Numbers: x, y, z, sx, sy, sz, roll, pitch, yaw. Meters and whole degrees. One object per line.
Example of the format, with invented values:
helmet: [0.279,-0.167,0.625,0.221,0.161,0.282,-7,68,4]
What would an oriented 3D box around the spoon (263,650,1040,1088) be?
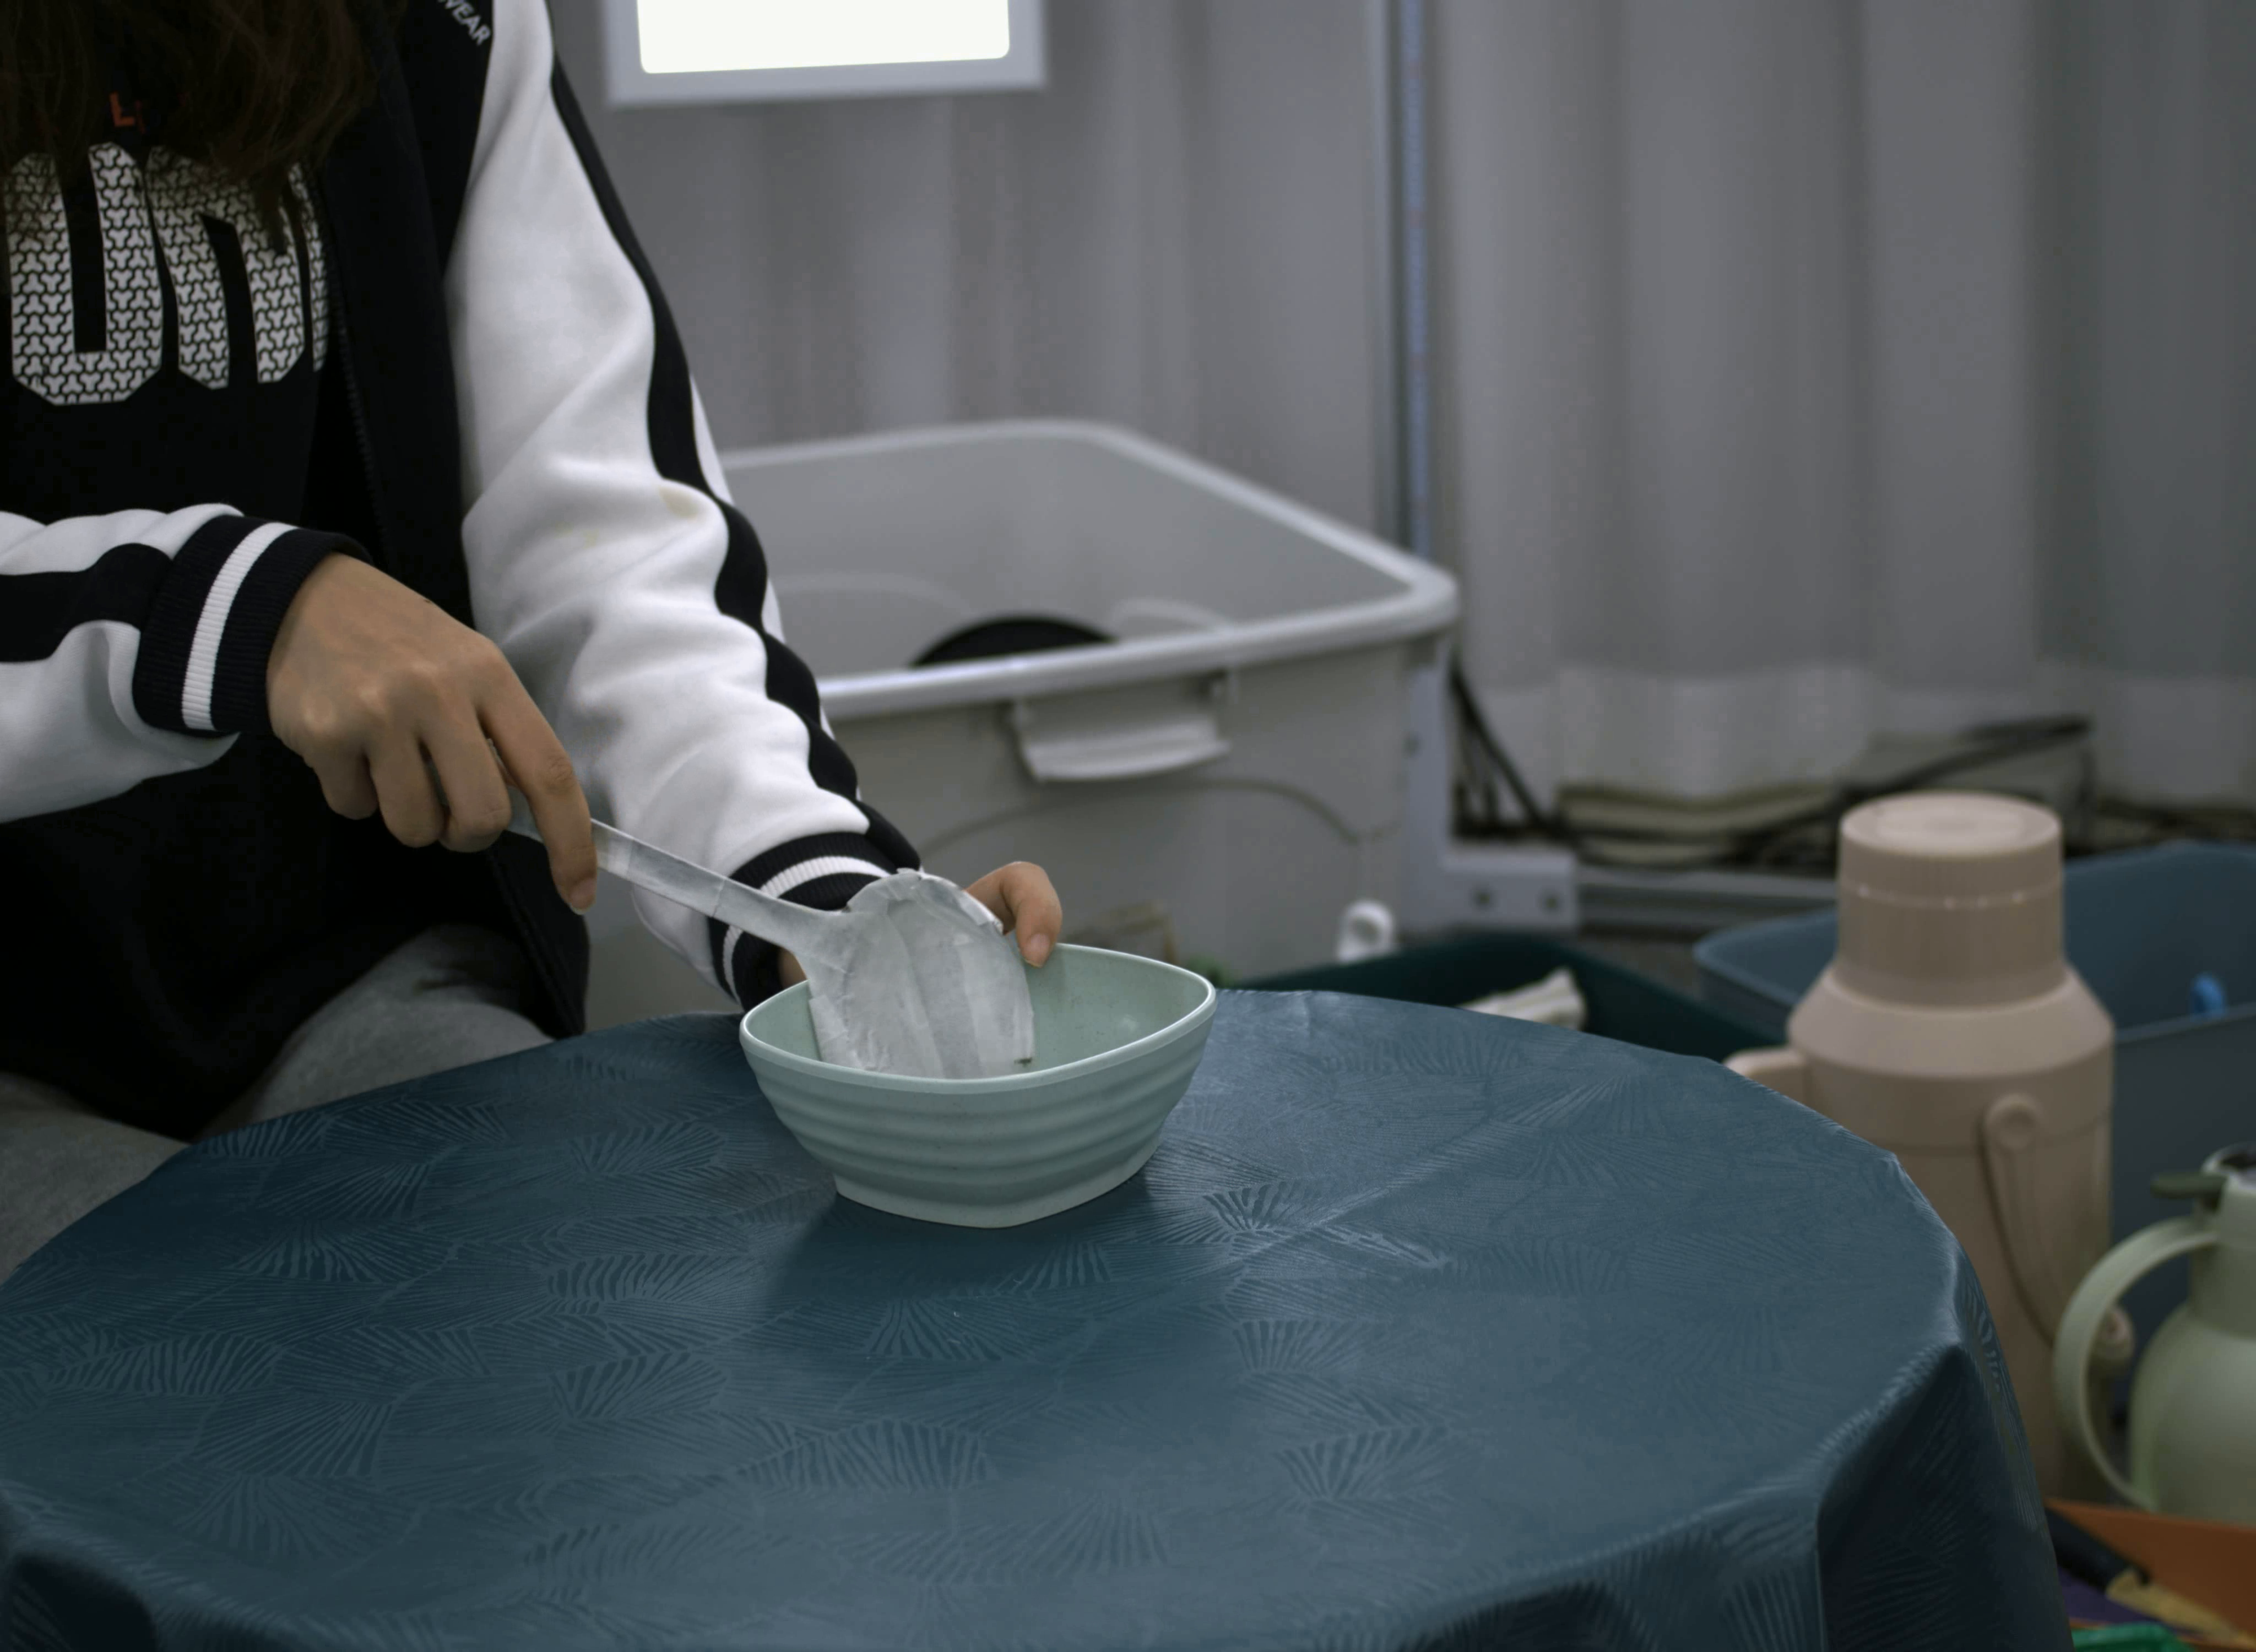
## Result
spoon: [-0.152,0.013,1.723,0.277,0.100,0.060,26,18,-1]

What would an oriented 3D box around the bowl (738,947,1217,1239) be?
bowl: [-0.046,0.087,1.727,0.151,0.058,0.152,-3,15,1]
